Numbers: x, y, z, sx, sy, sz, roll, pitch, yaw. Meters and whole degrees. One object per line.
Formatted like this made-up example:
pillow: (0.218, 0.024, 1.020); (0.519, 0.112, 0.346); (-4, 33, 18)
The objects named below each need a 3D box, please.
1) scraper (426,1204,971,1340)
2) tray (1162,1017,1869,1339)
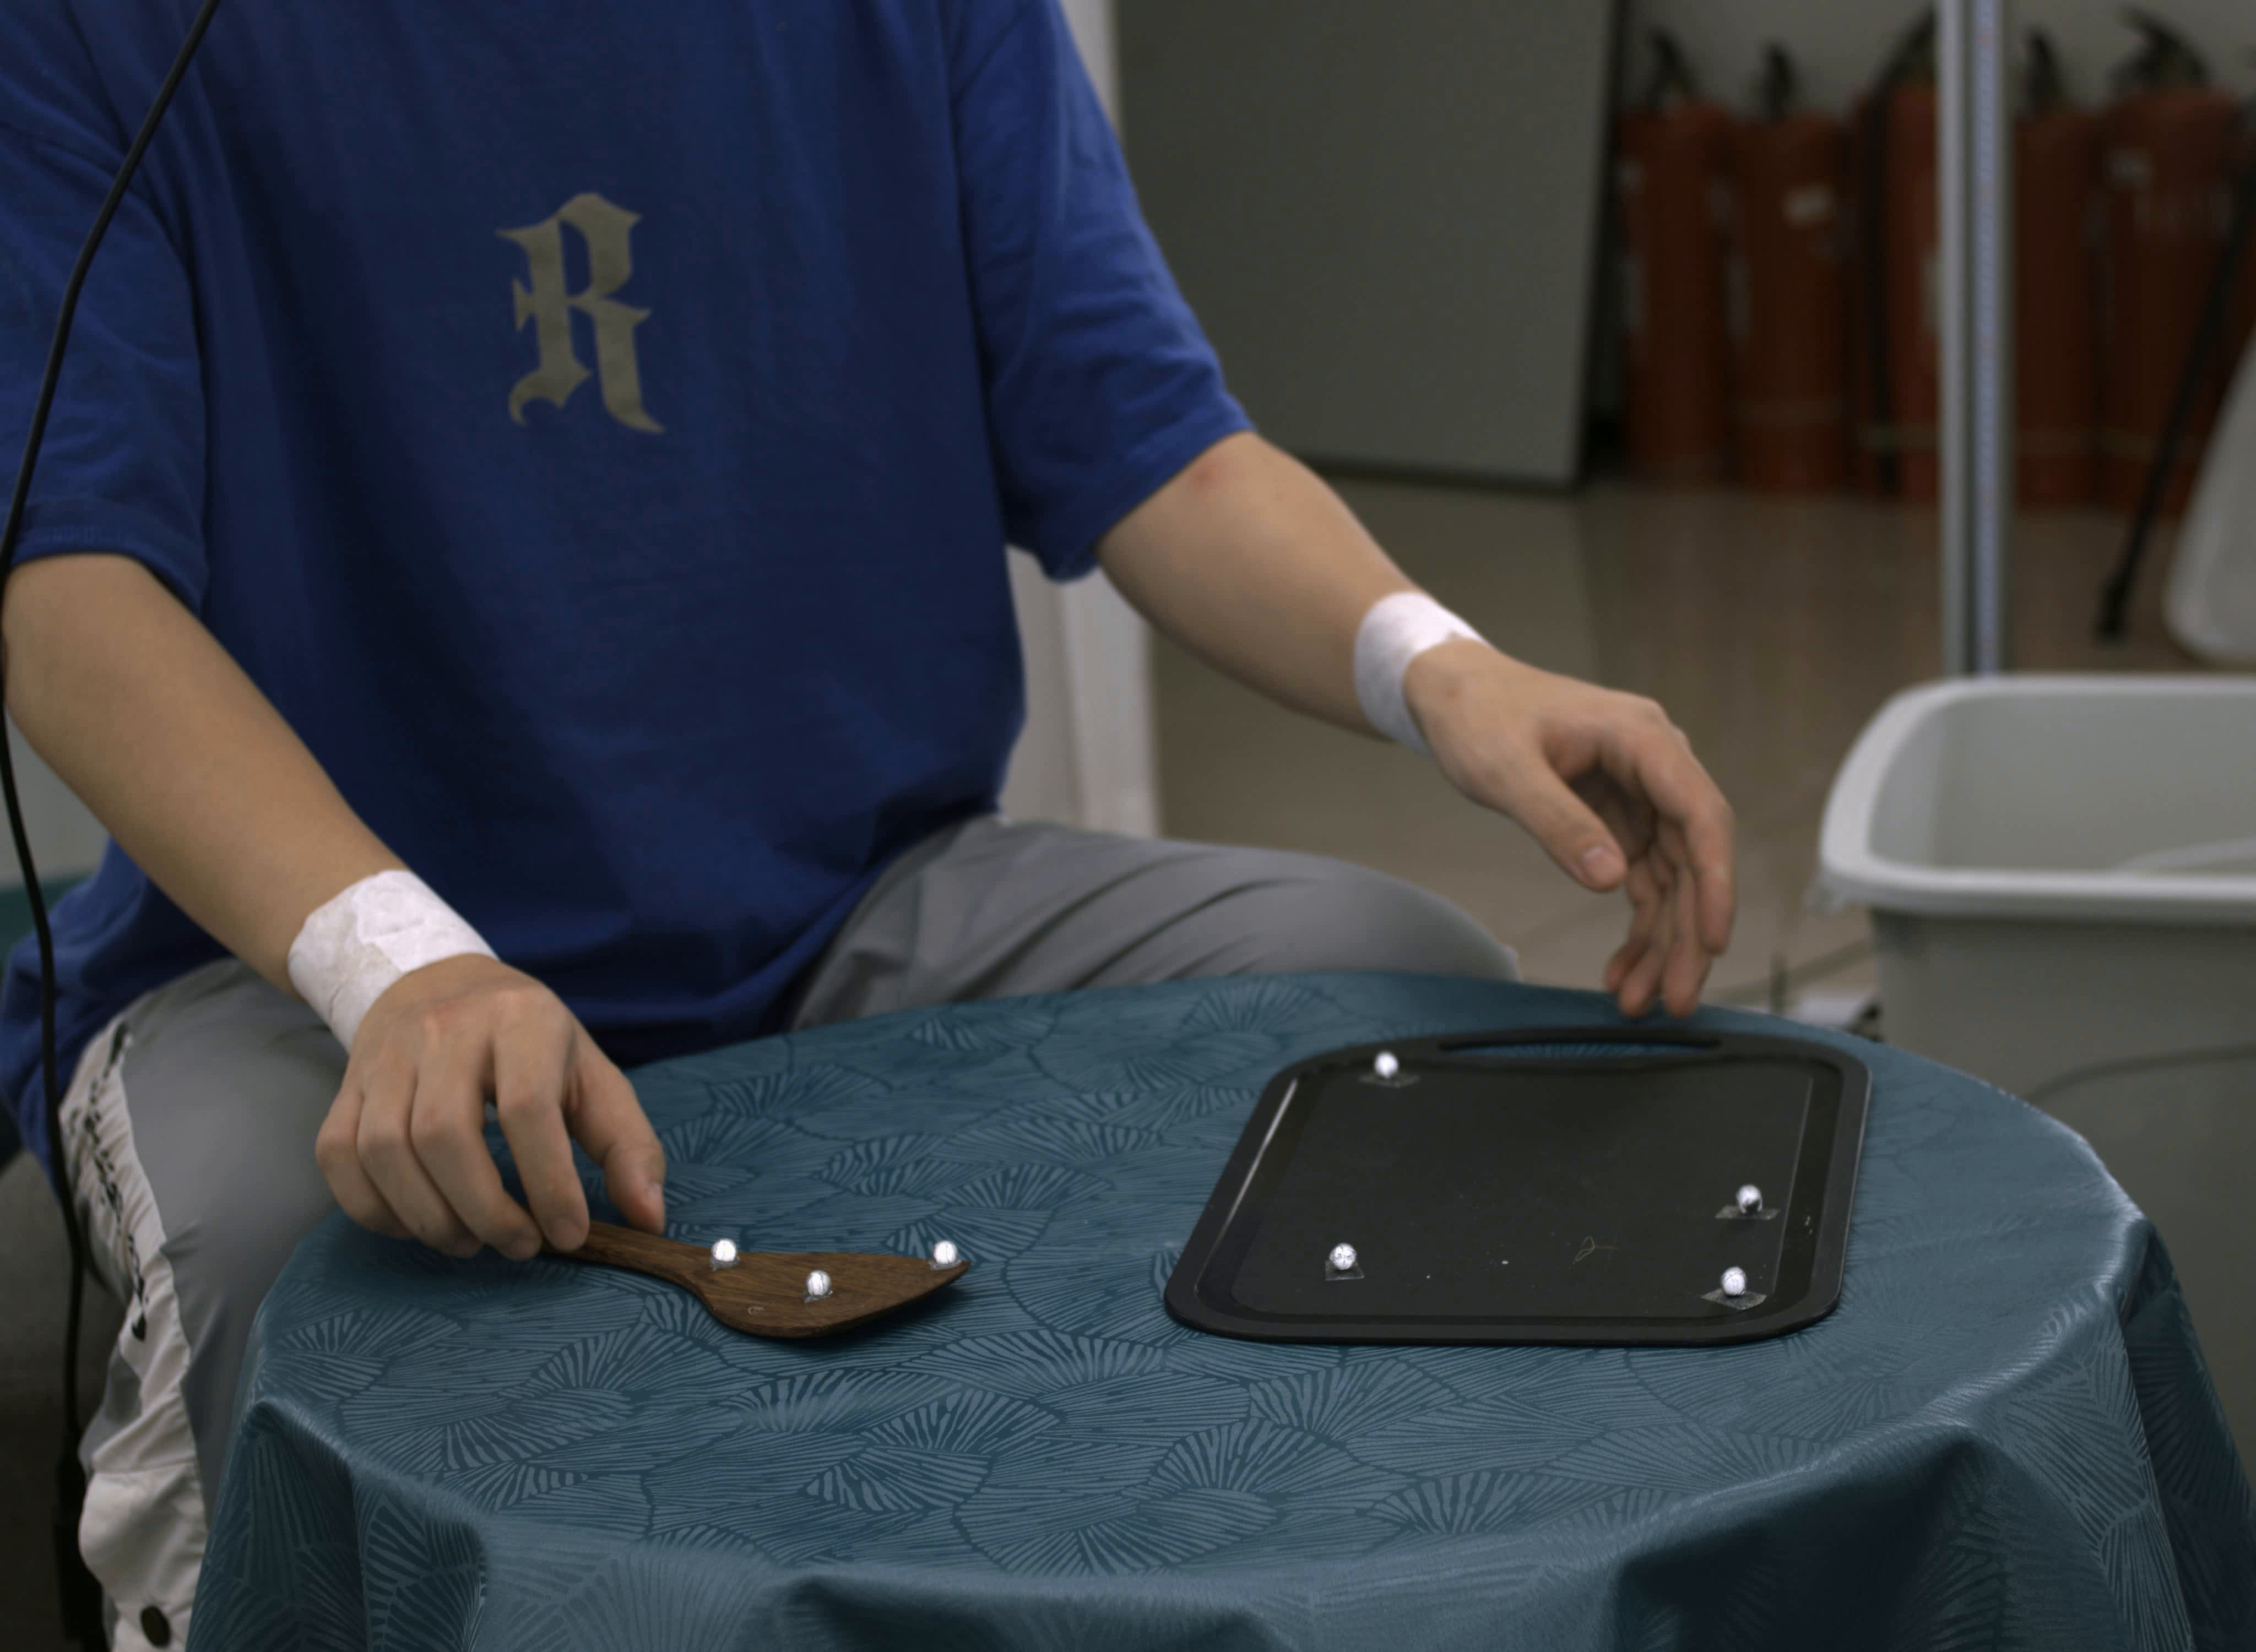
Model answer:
scraper: (-0.145, 0.139, 1.722); (0.213, 0.011, 0.074); (7, 17, 40)
tray: (0.133, 0.109, 1.755); (0.210, 0.010, 0.324); (-1, 15, 12)
